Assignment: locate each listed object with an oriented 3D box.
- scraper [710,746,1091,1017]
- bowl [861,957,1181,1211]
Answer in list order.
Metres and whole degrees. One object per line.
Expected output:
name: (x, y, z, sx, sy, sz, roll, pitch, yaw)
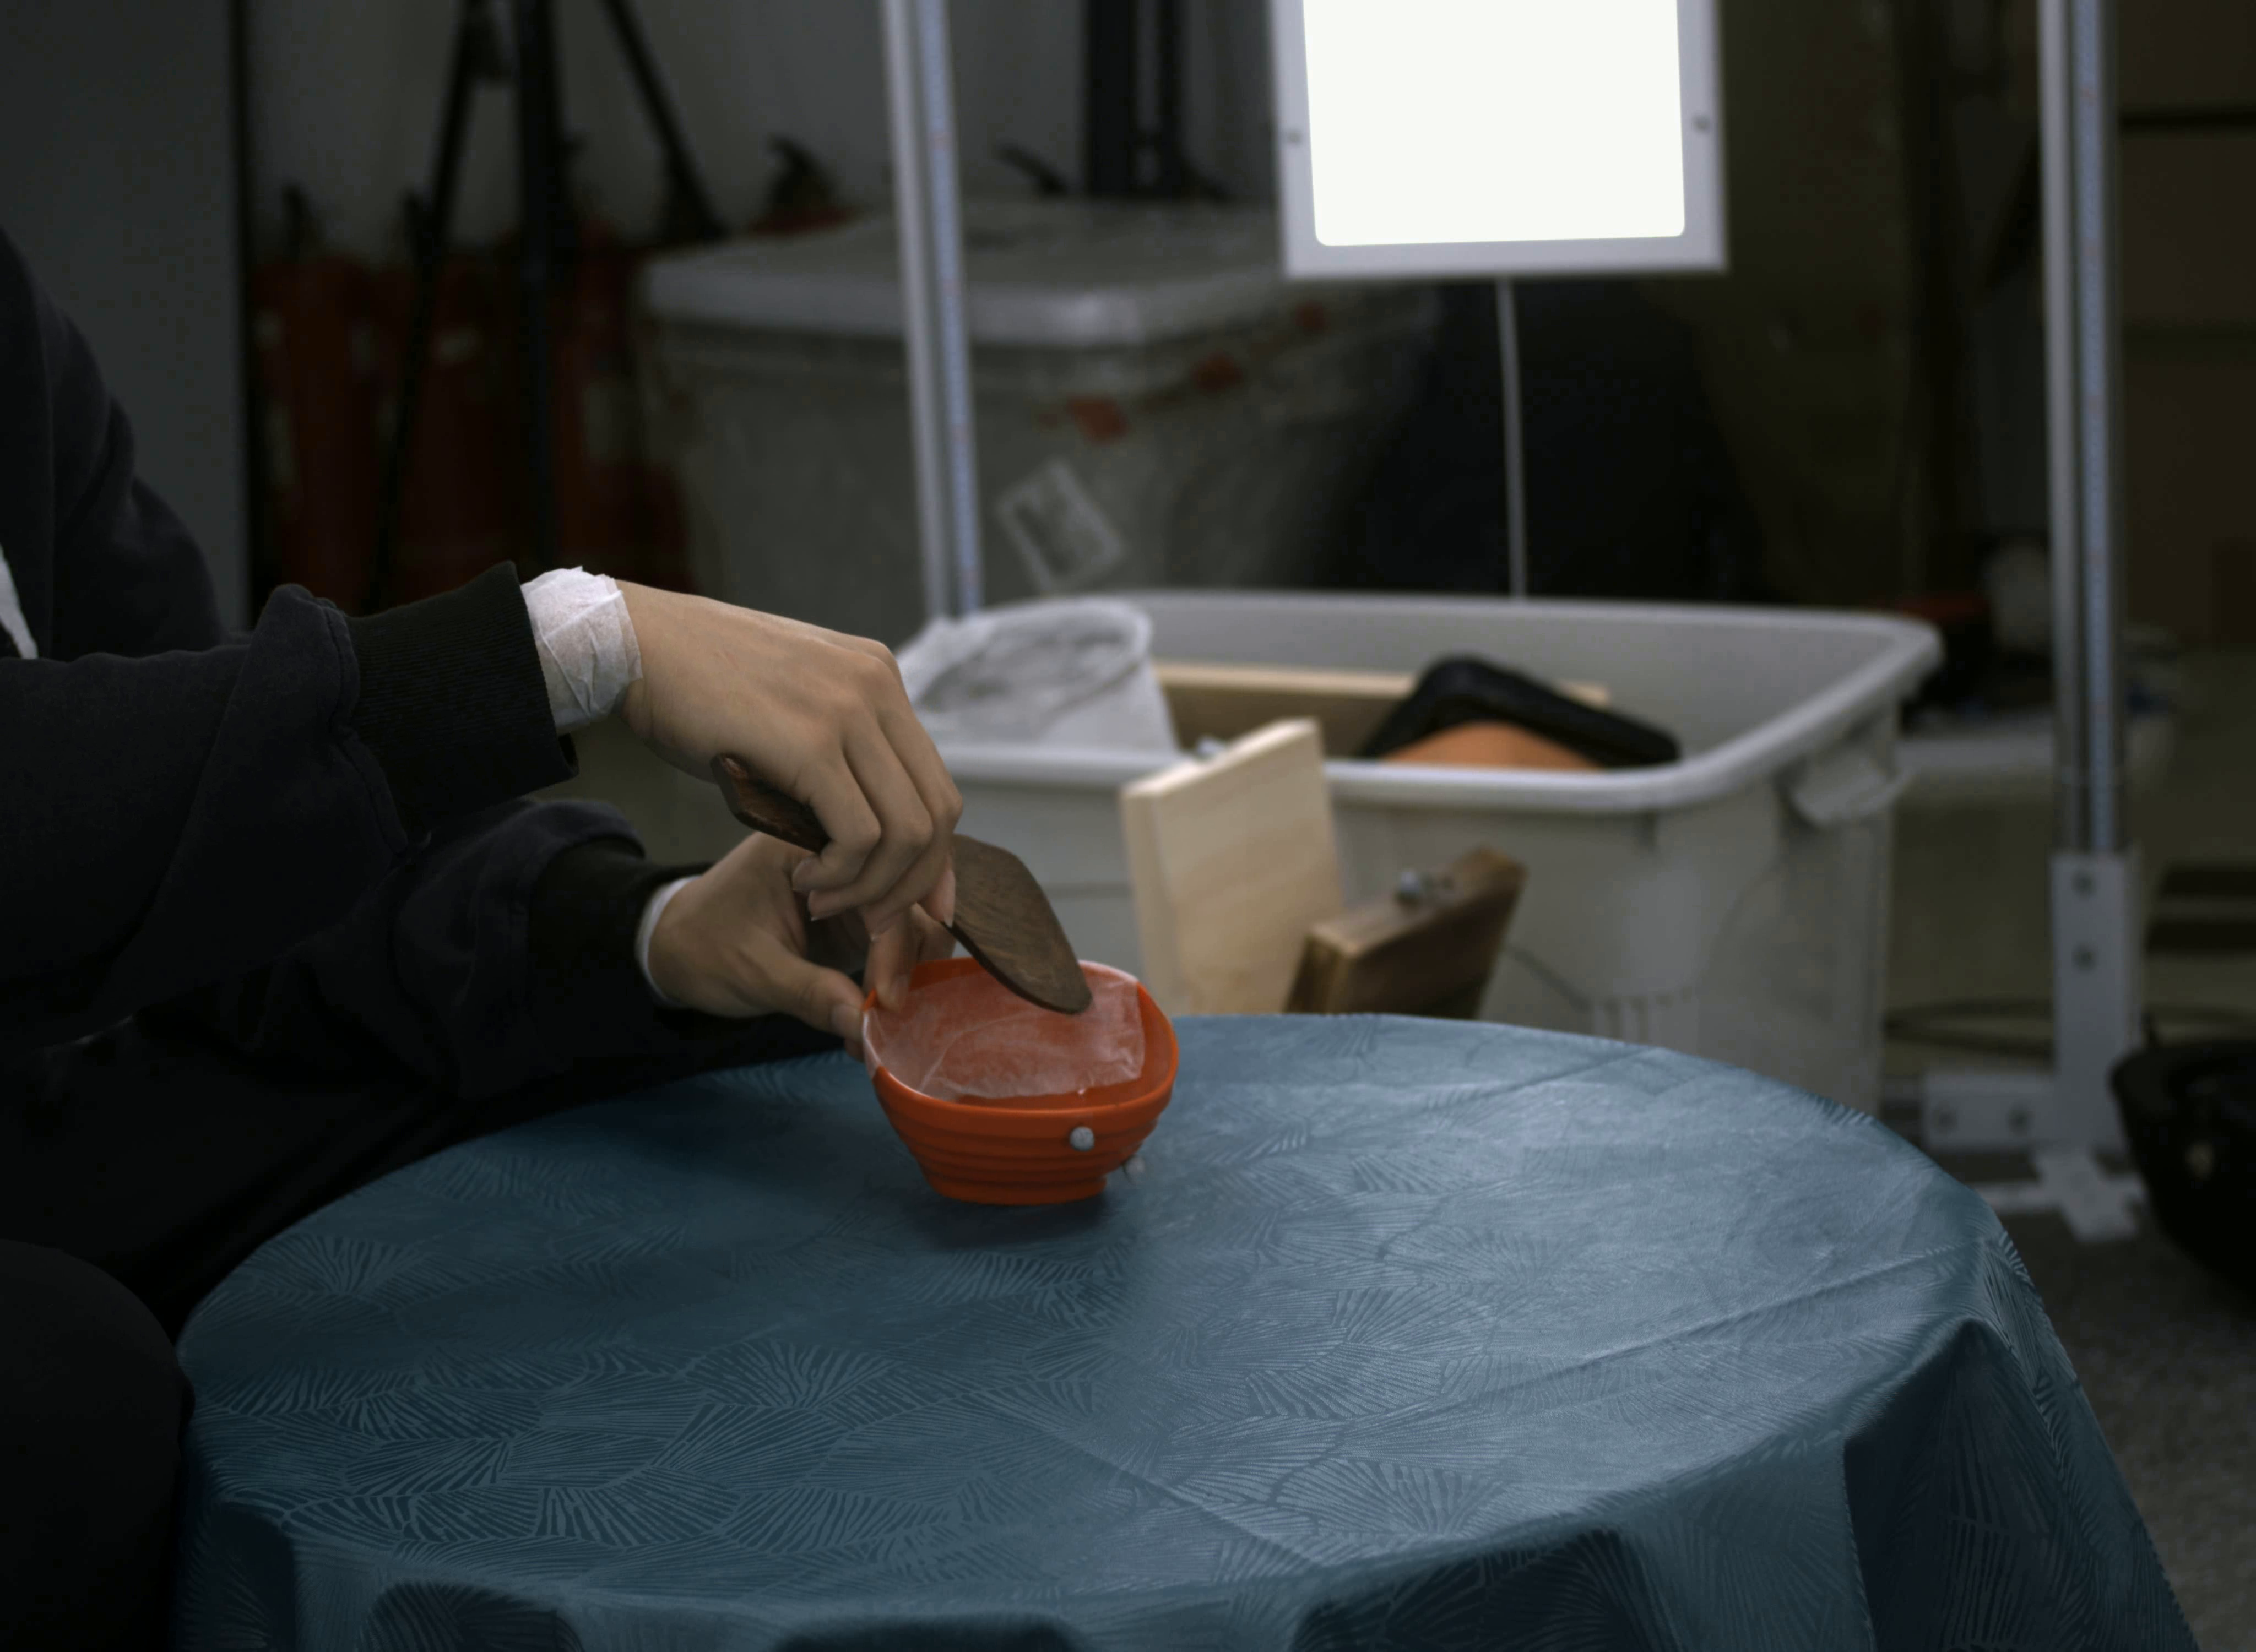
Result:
scraper: (-0.078, 0.012, 1.856, 0.011, 0.076, 0.207, -35, -31, 18)
bowl: (-0.038, 0.094, 1.910, 0.118, 0.052, 0.118, 2, 30, -2)
